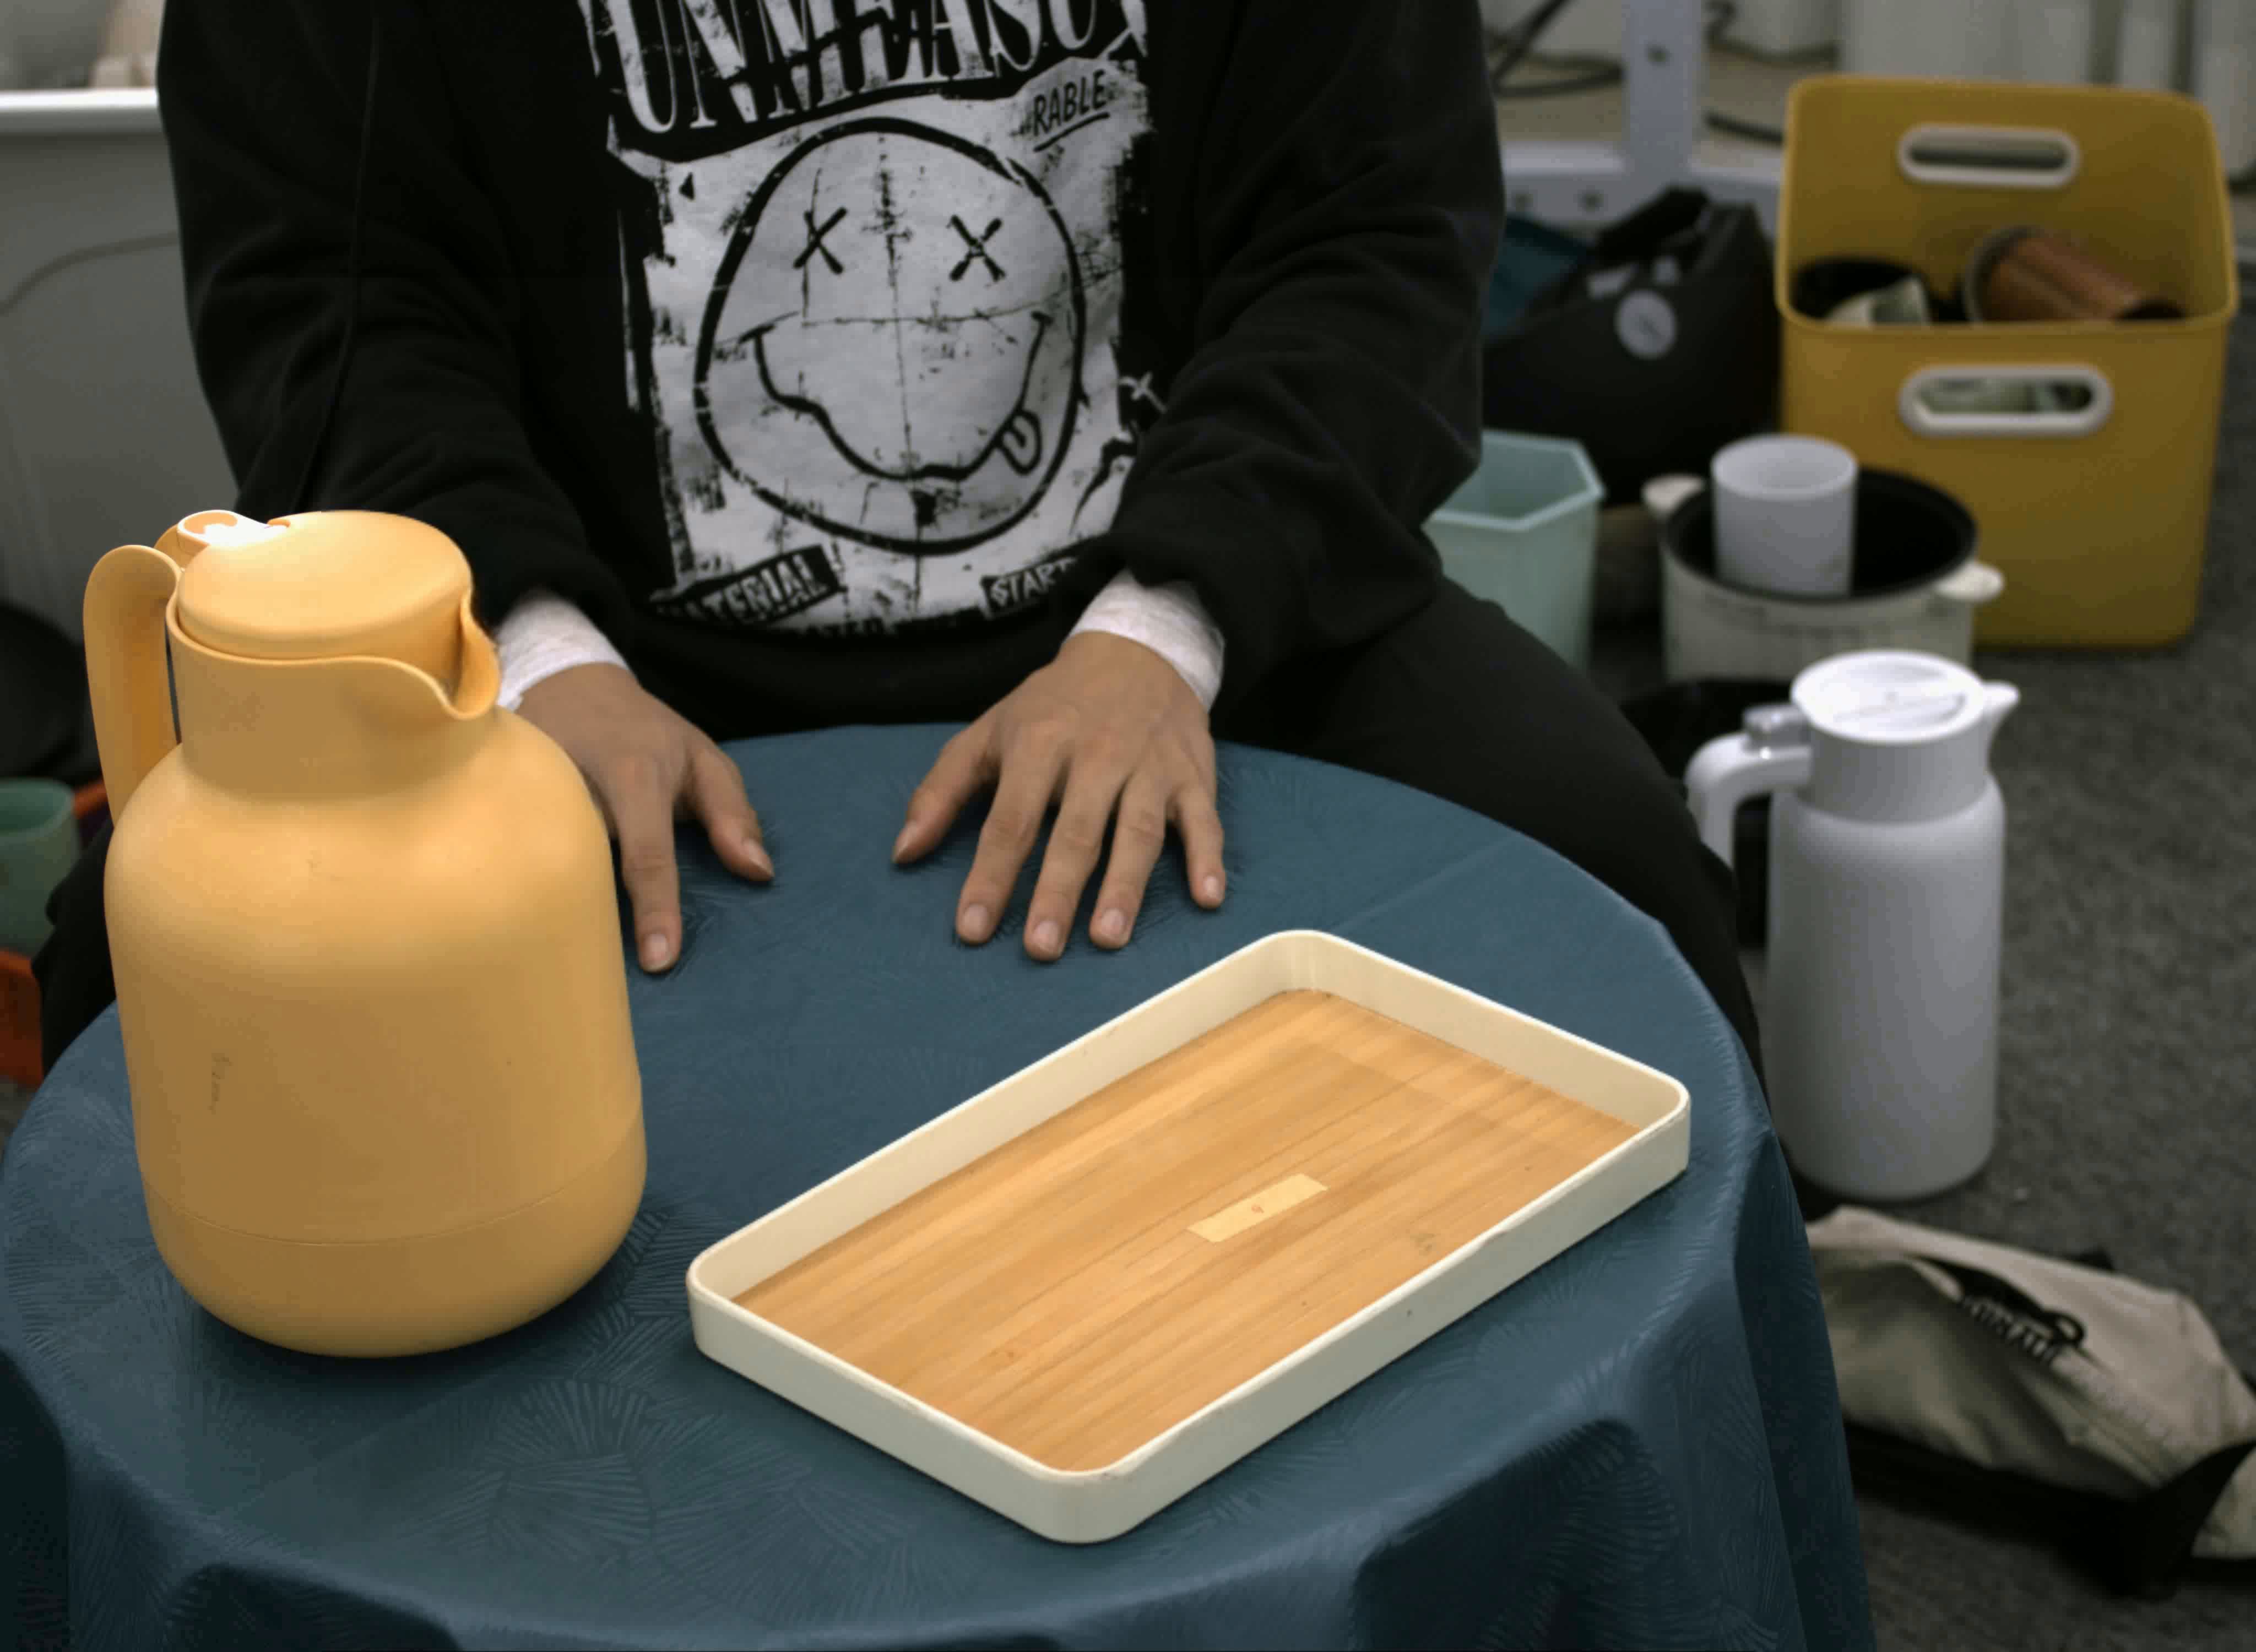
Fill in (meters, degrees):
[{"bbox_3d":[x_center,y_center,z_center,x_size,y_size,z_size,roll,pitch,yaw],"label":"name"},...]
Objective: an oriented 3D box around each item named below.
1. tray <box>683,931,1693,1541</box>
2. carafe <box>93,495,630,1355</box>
[{"bbox_3d":[0.022,0.126,1.819,0.191,0.027,0.304,22,36,39],"label":"tray"},{"bbox_3d":[-0.256,0.021,1.796,0.165,0.258,0.202,-22,33,-38],"label":"carafe"}]
